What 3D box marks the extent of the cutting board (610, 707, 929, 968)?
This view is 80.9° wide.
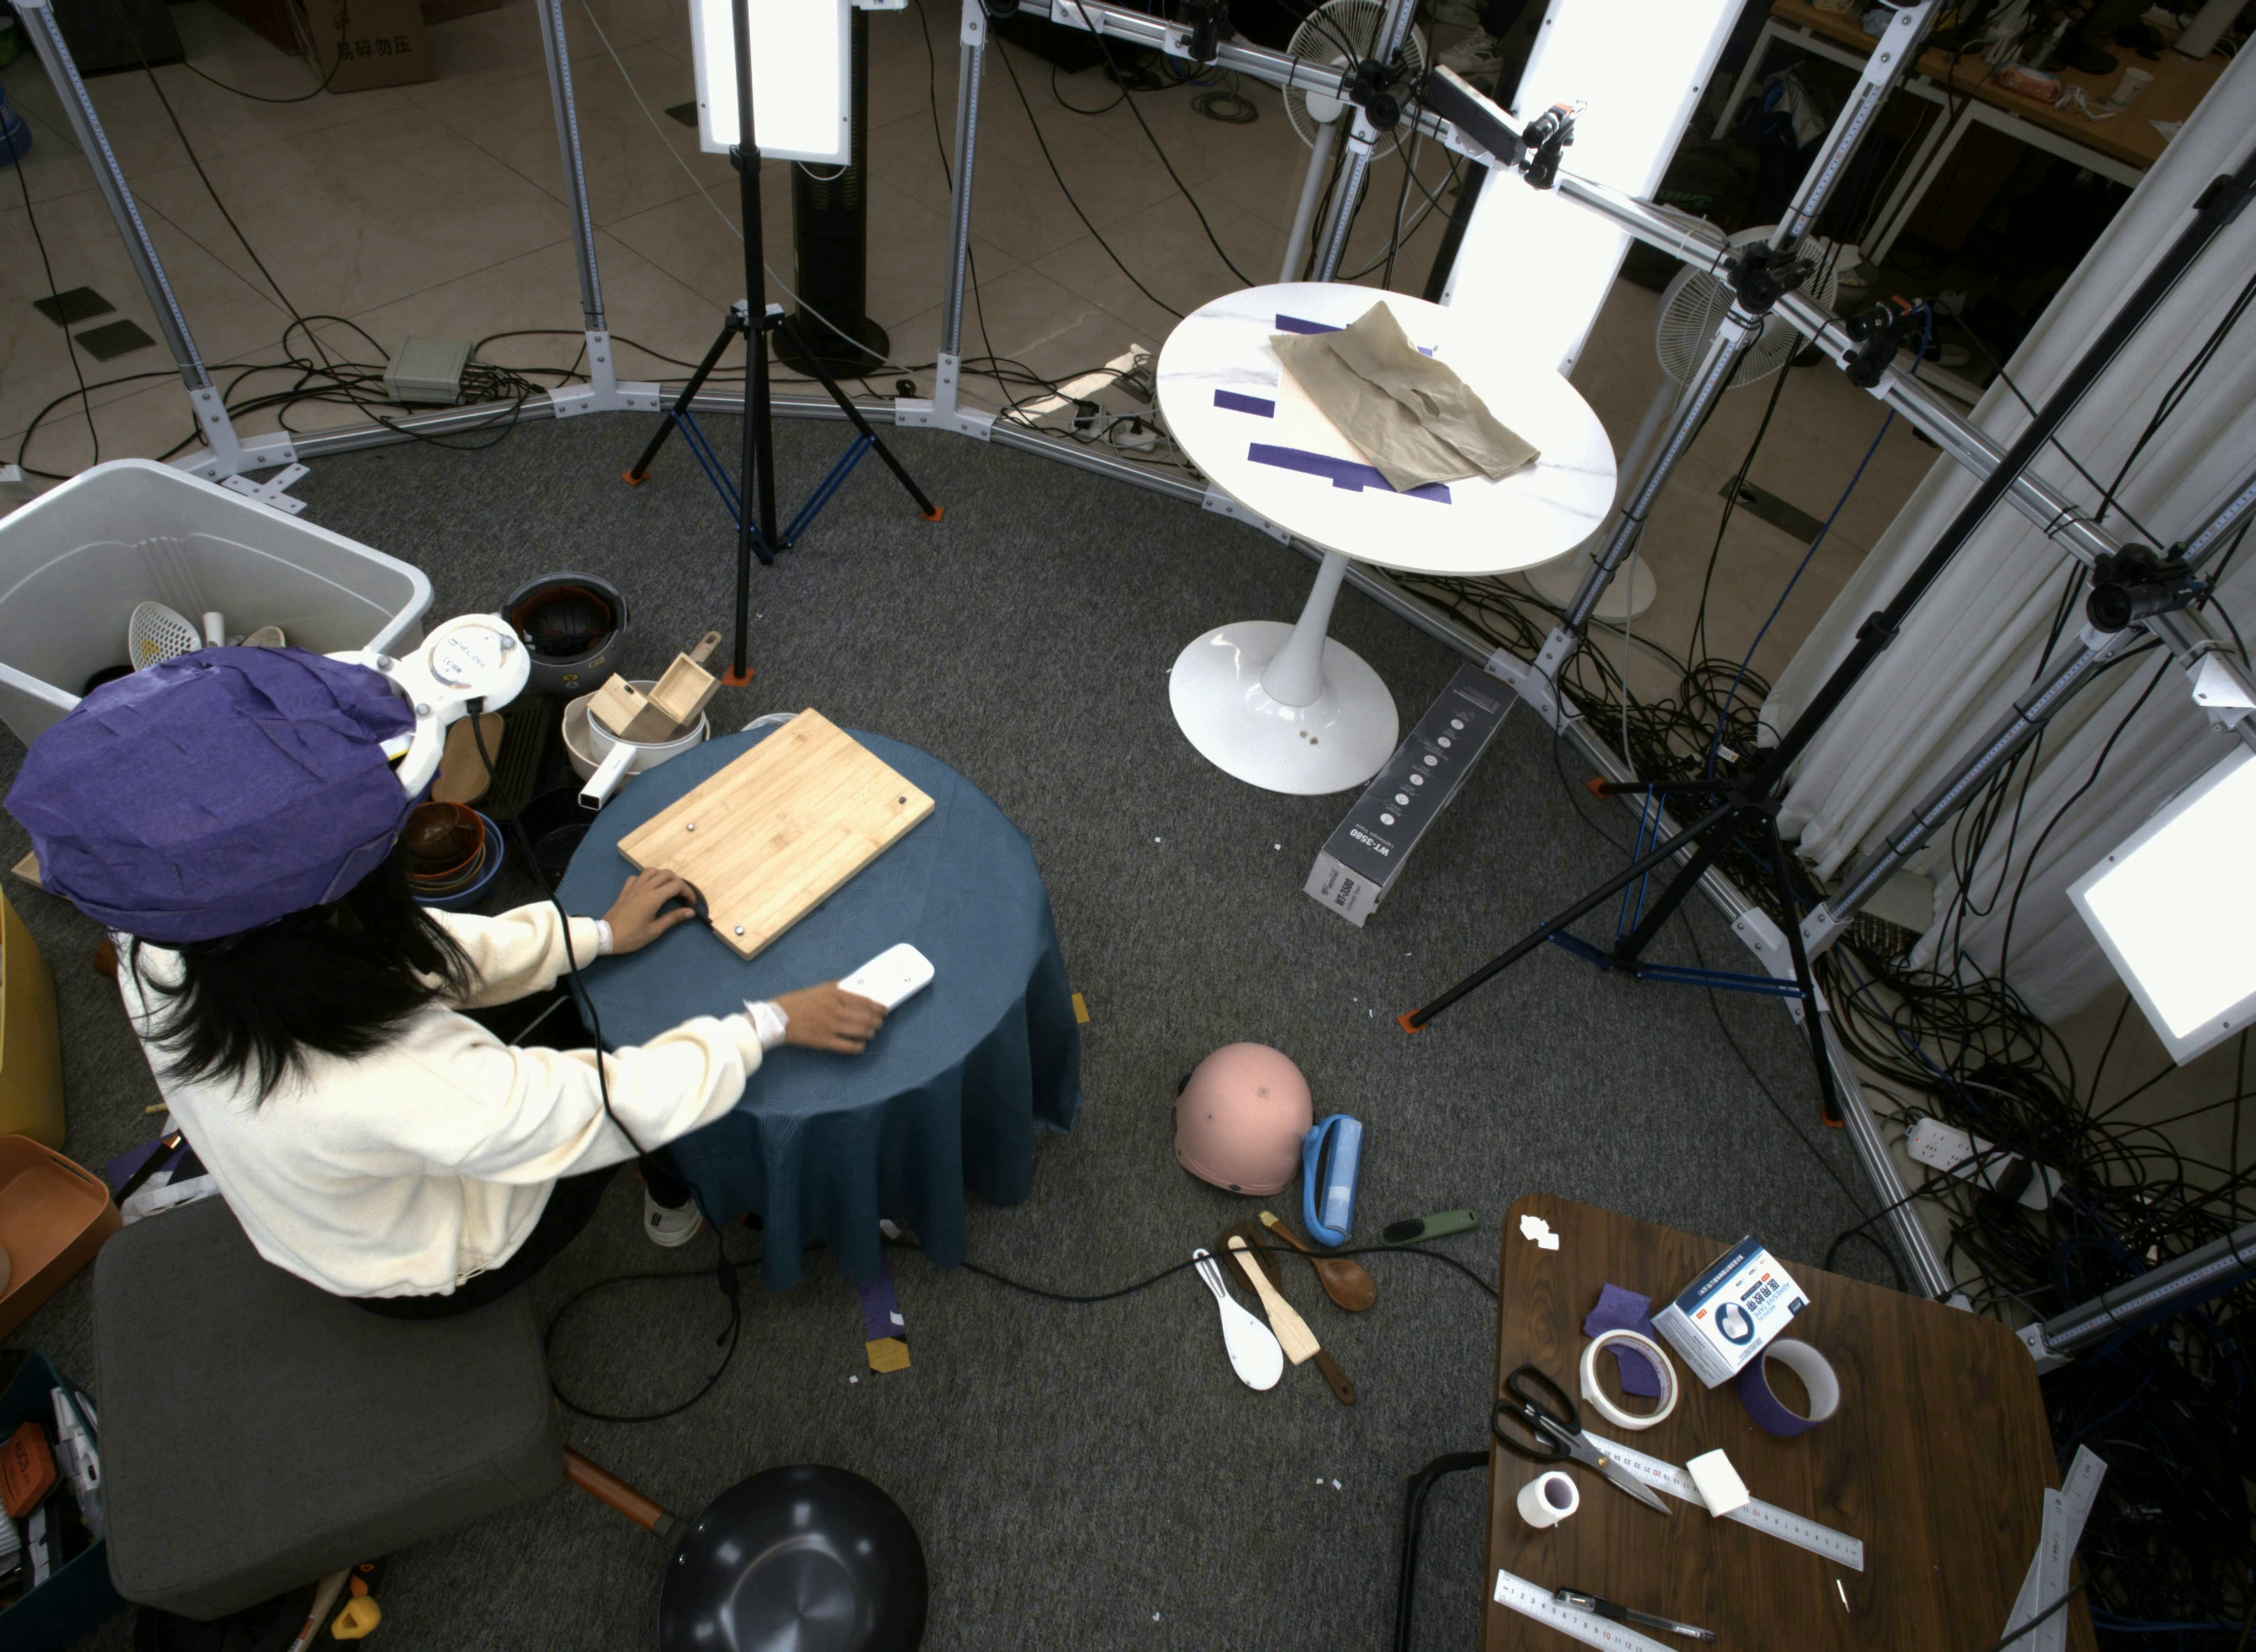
[{"bbox_3d":[-0.462,0.003,1.696,0.246,0.024,0.348,35,53,12],"label":"cutting board"}]

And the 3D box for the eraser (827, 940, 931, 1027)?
[{"bbox_3d":[-0.303,0.186,1.582,0.062,0.035,0.132,41,49,19],"label":"eraser"}]
